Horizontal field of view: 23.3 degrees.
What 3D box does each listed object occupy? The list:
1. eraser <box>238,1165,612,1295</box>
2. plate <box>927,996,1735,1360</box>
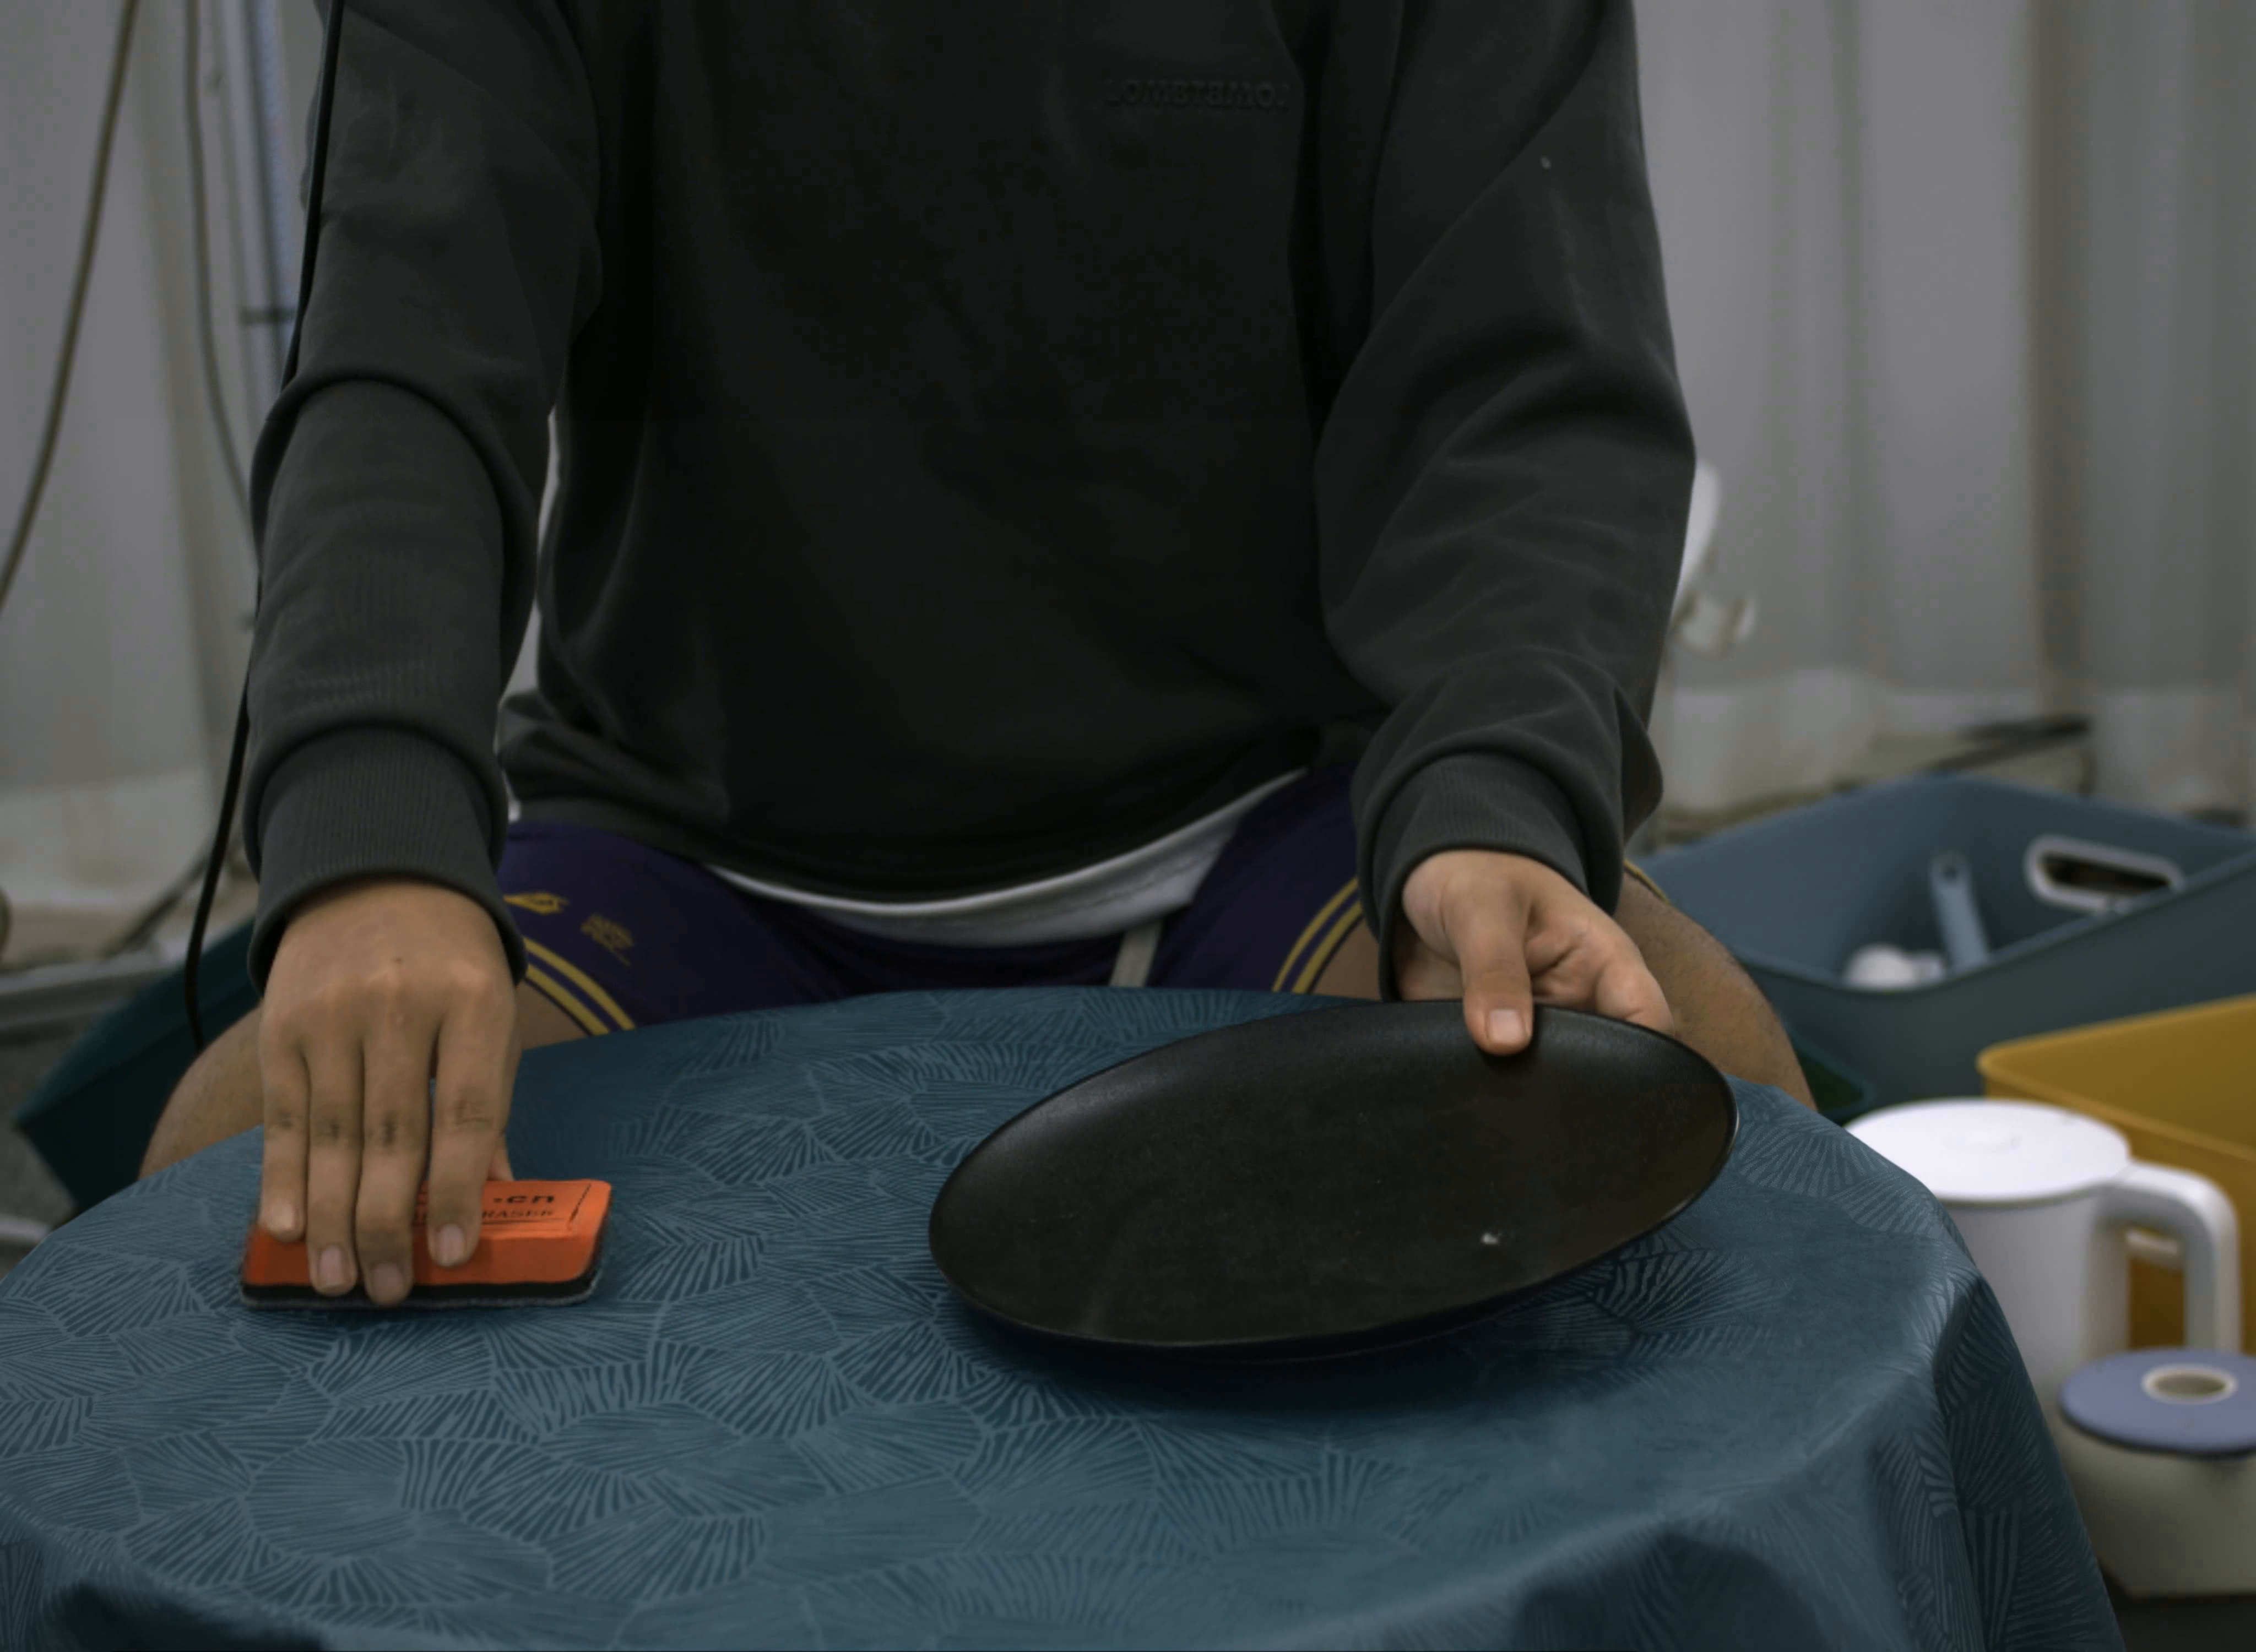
[{"bbox_3d":[-0.213,0.123,1.664,0.108,0.023,0.059,2,14,5],"label":"eraser"},{"bbox_3d":[0.061,0.108,1.626,0.243,0.023,0.246,-10,19,3],"label":"plate"}]
